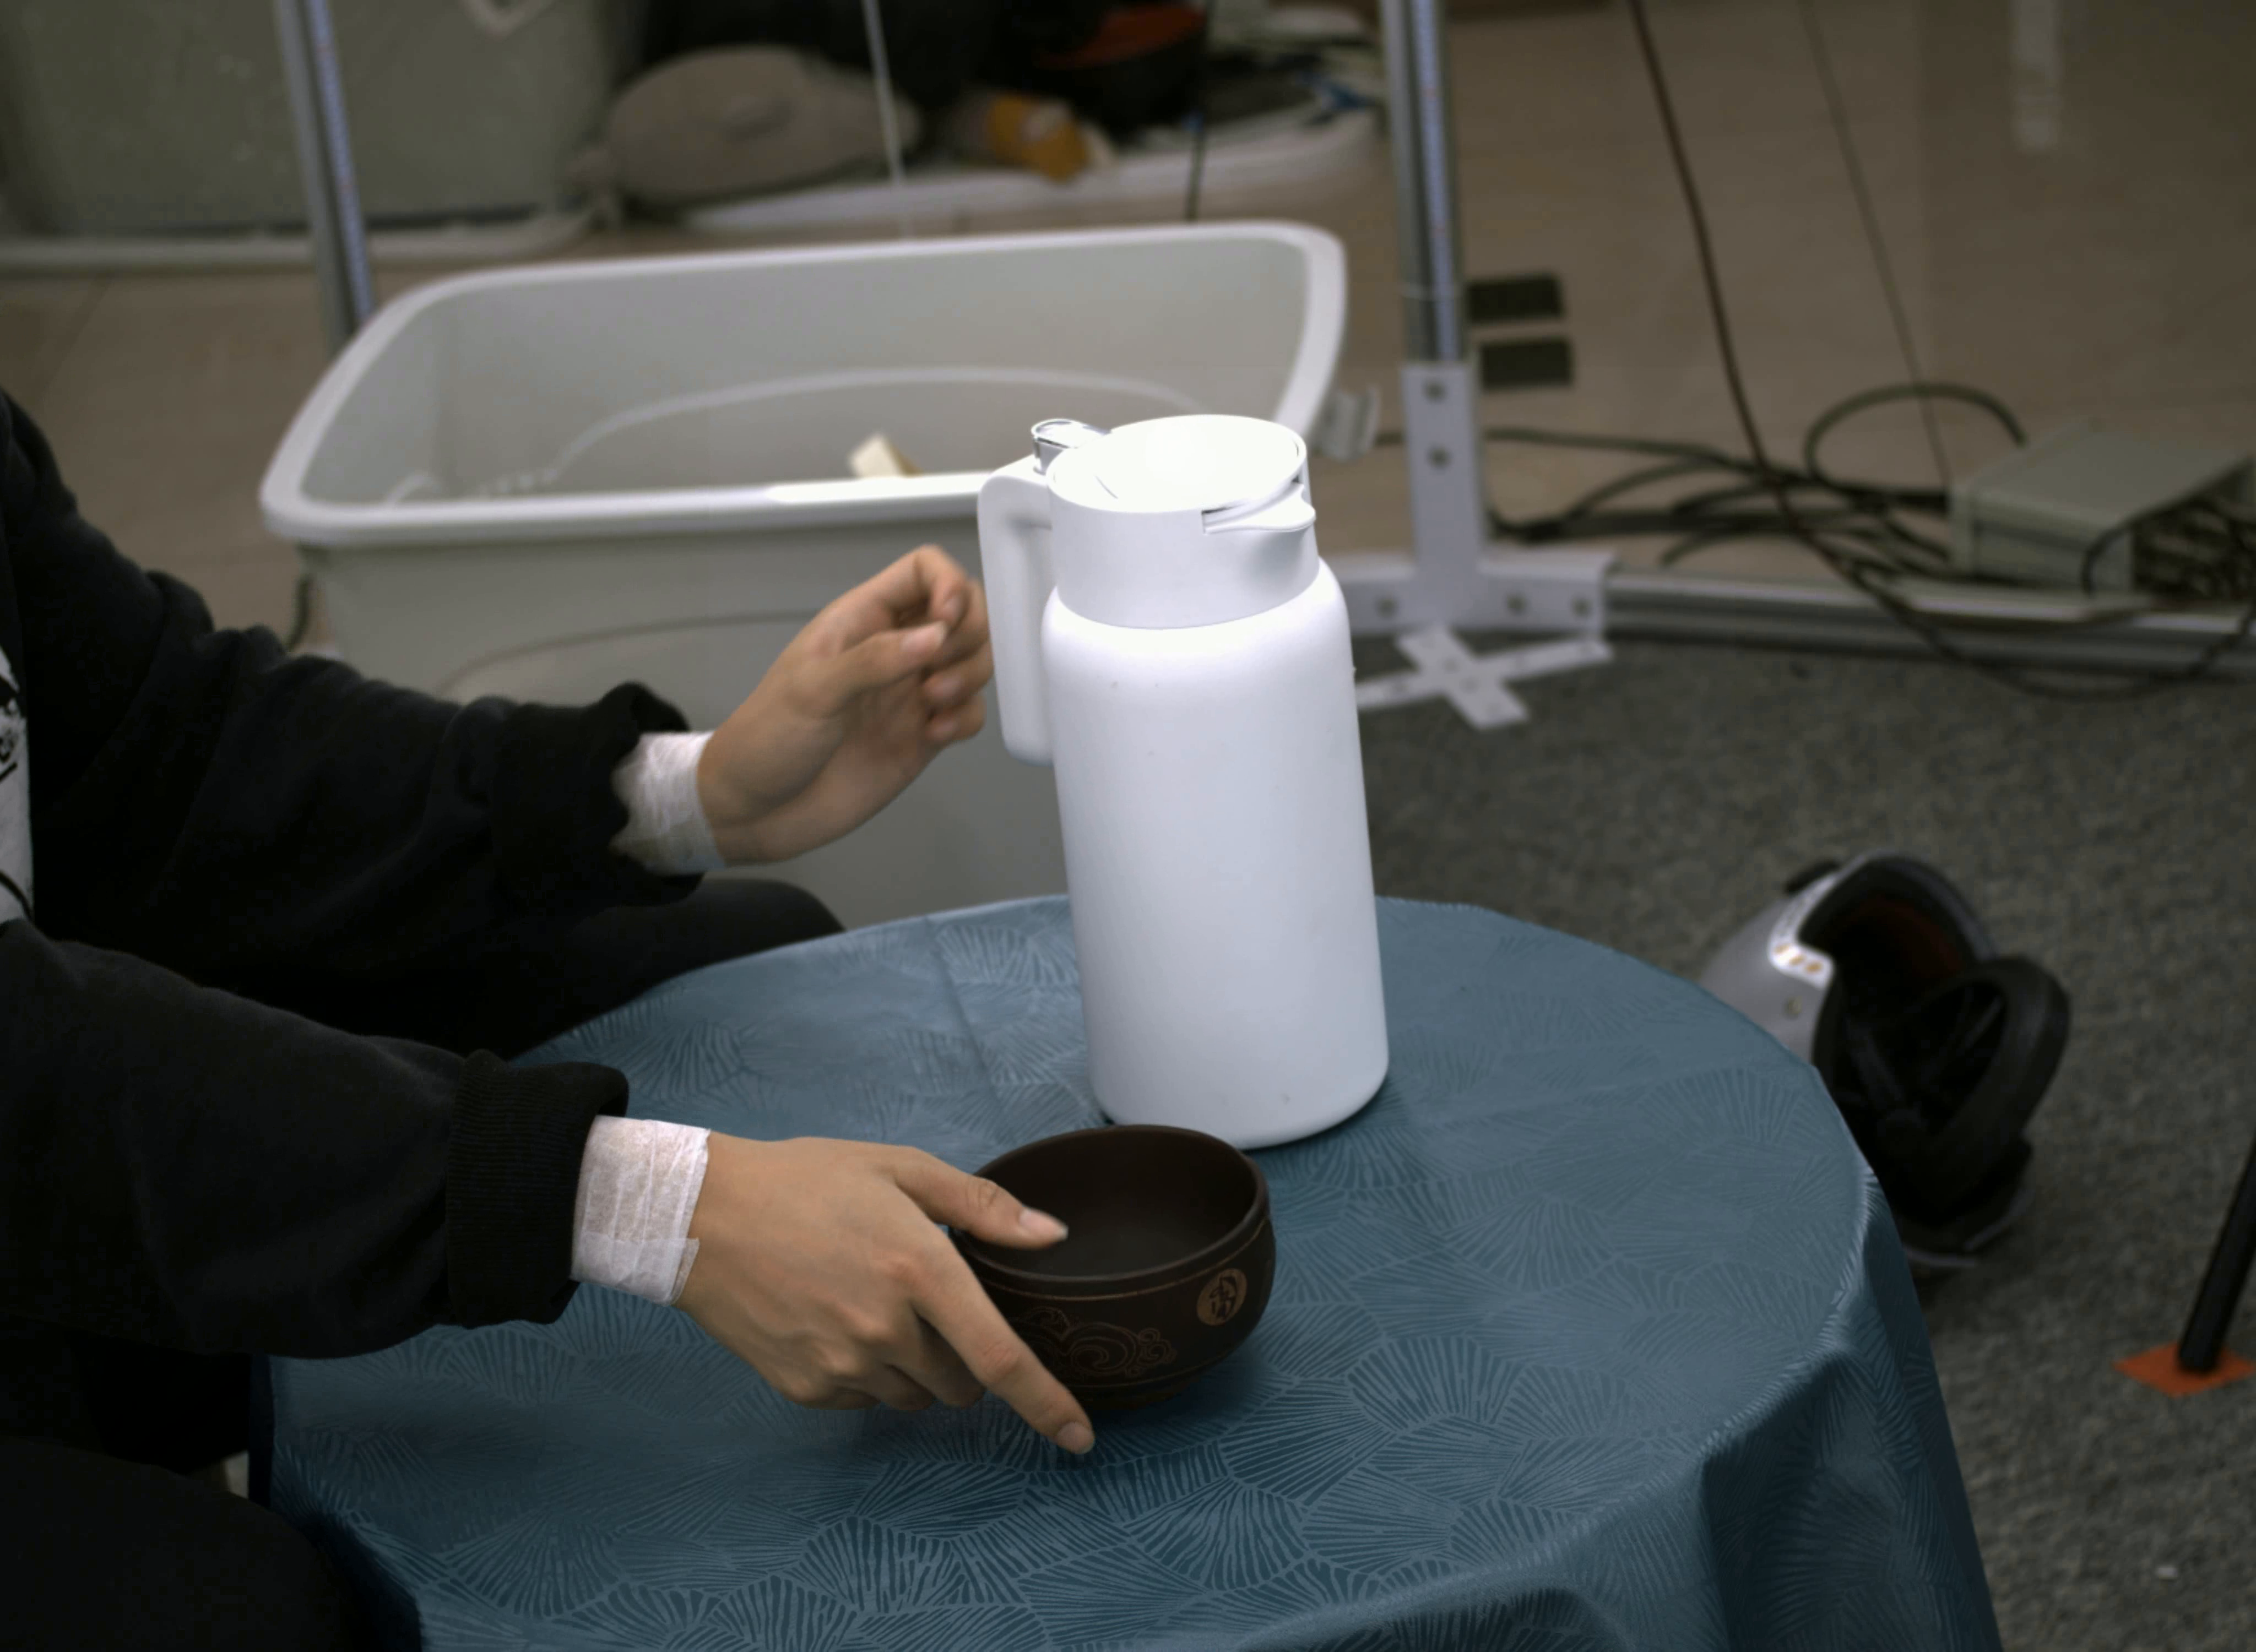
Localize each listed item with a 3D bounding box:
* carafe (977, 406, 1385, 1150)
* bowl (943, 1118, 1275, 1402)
[{"bbox_3d":[0.018,-0.020,2.166,0.171,0.273,0.123,19,38,42],"label":"carafe"},{"bbox_3d":[-0.005,0.161,2.016,0.118,0.071,0.116,-6,25,3],"label":"bowl"}]
